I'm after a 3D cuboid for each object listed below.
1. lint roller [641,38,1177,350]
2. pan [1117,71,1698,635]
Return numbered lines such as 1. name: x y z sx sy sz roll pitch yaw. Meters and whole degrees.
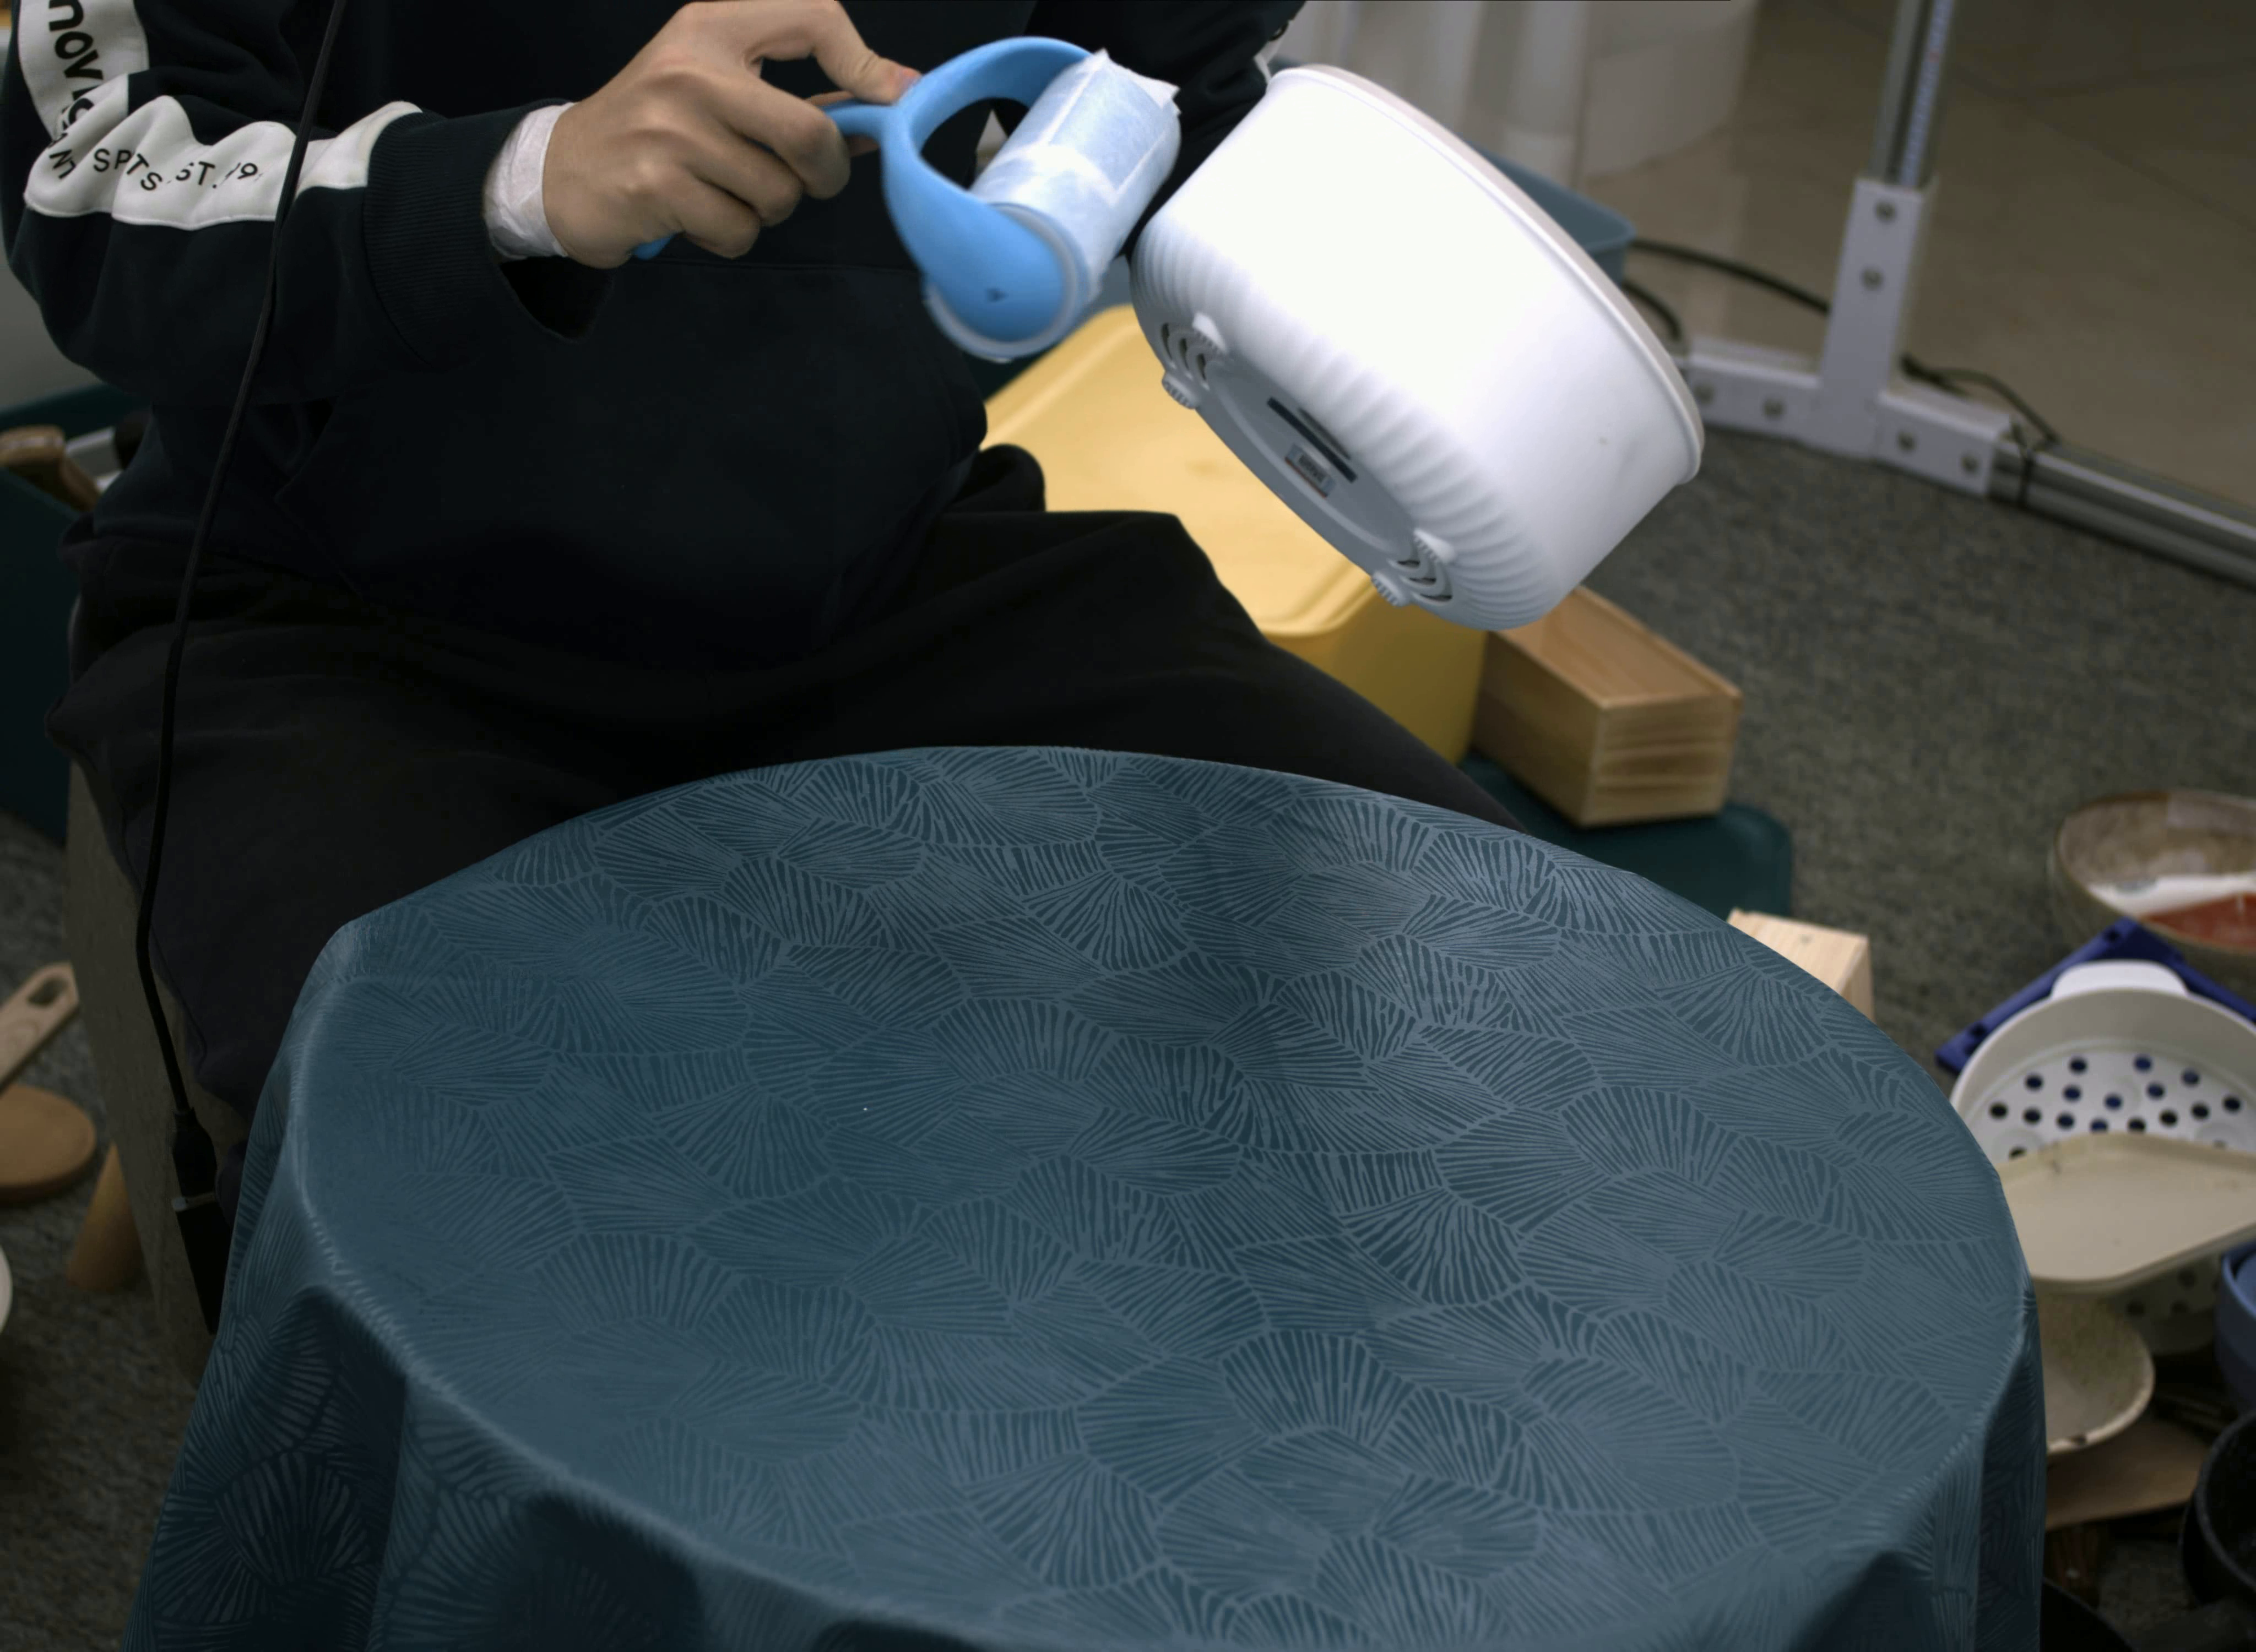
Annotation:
1. lint roller: -0.080 -0.219 1.829 0.180 0.068 0.230 2 23 5
2. pan: 0.081 -0.147 1.912 0.201 0.102 0.354 41 -9 0
